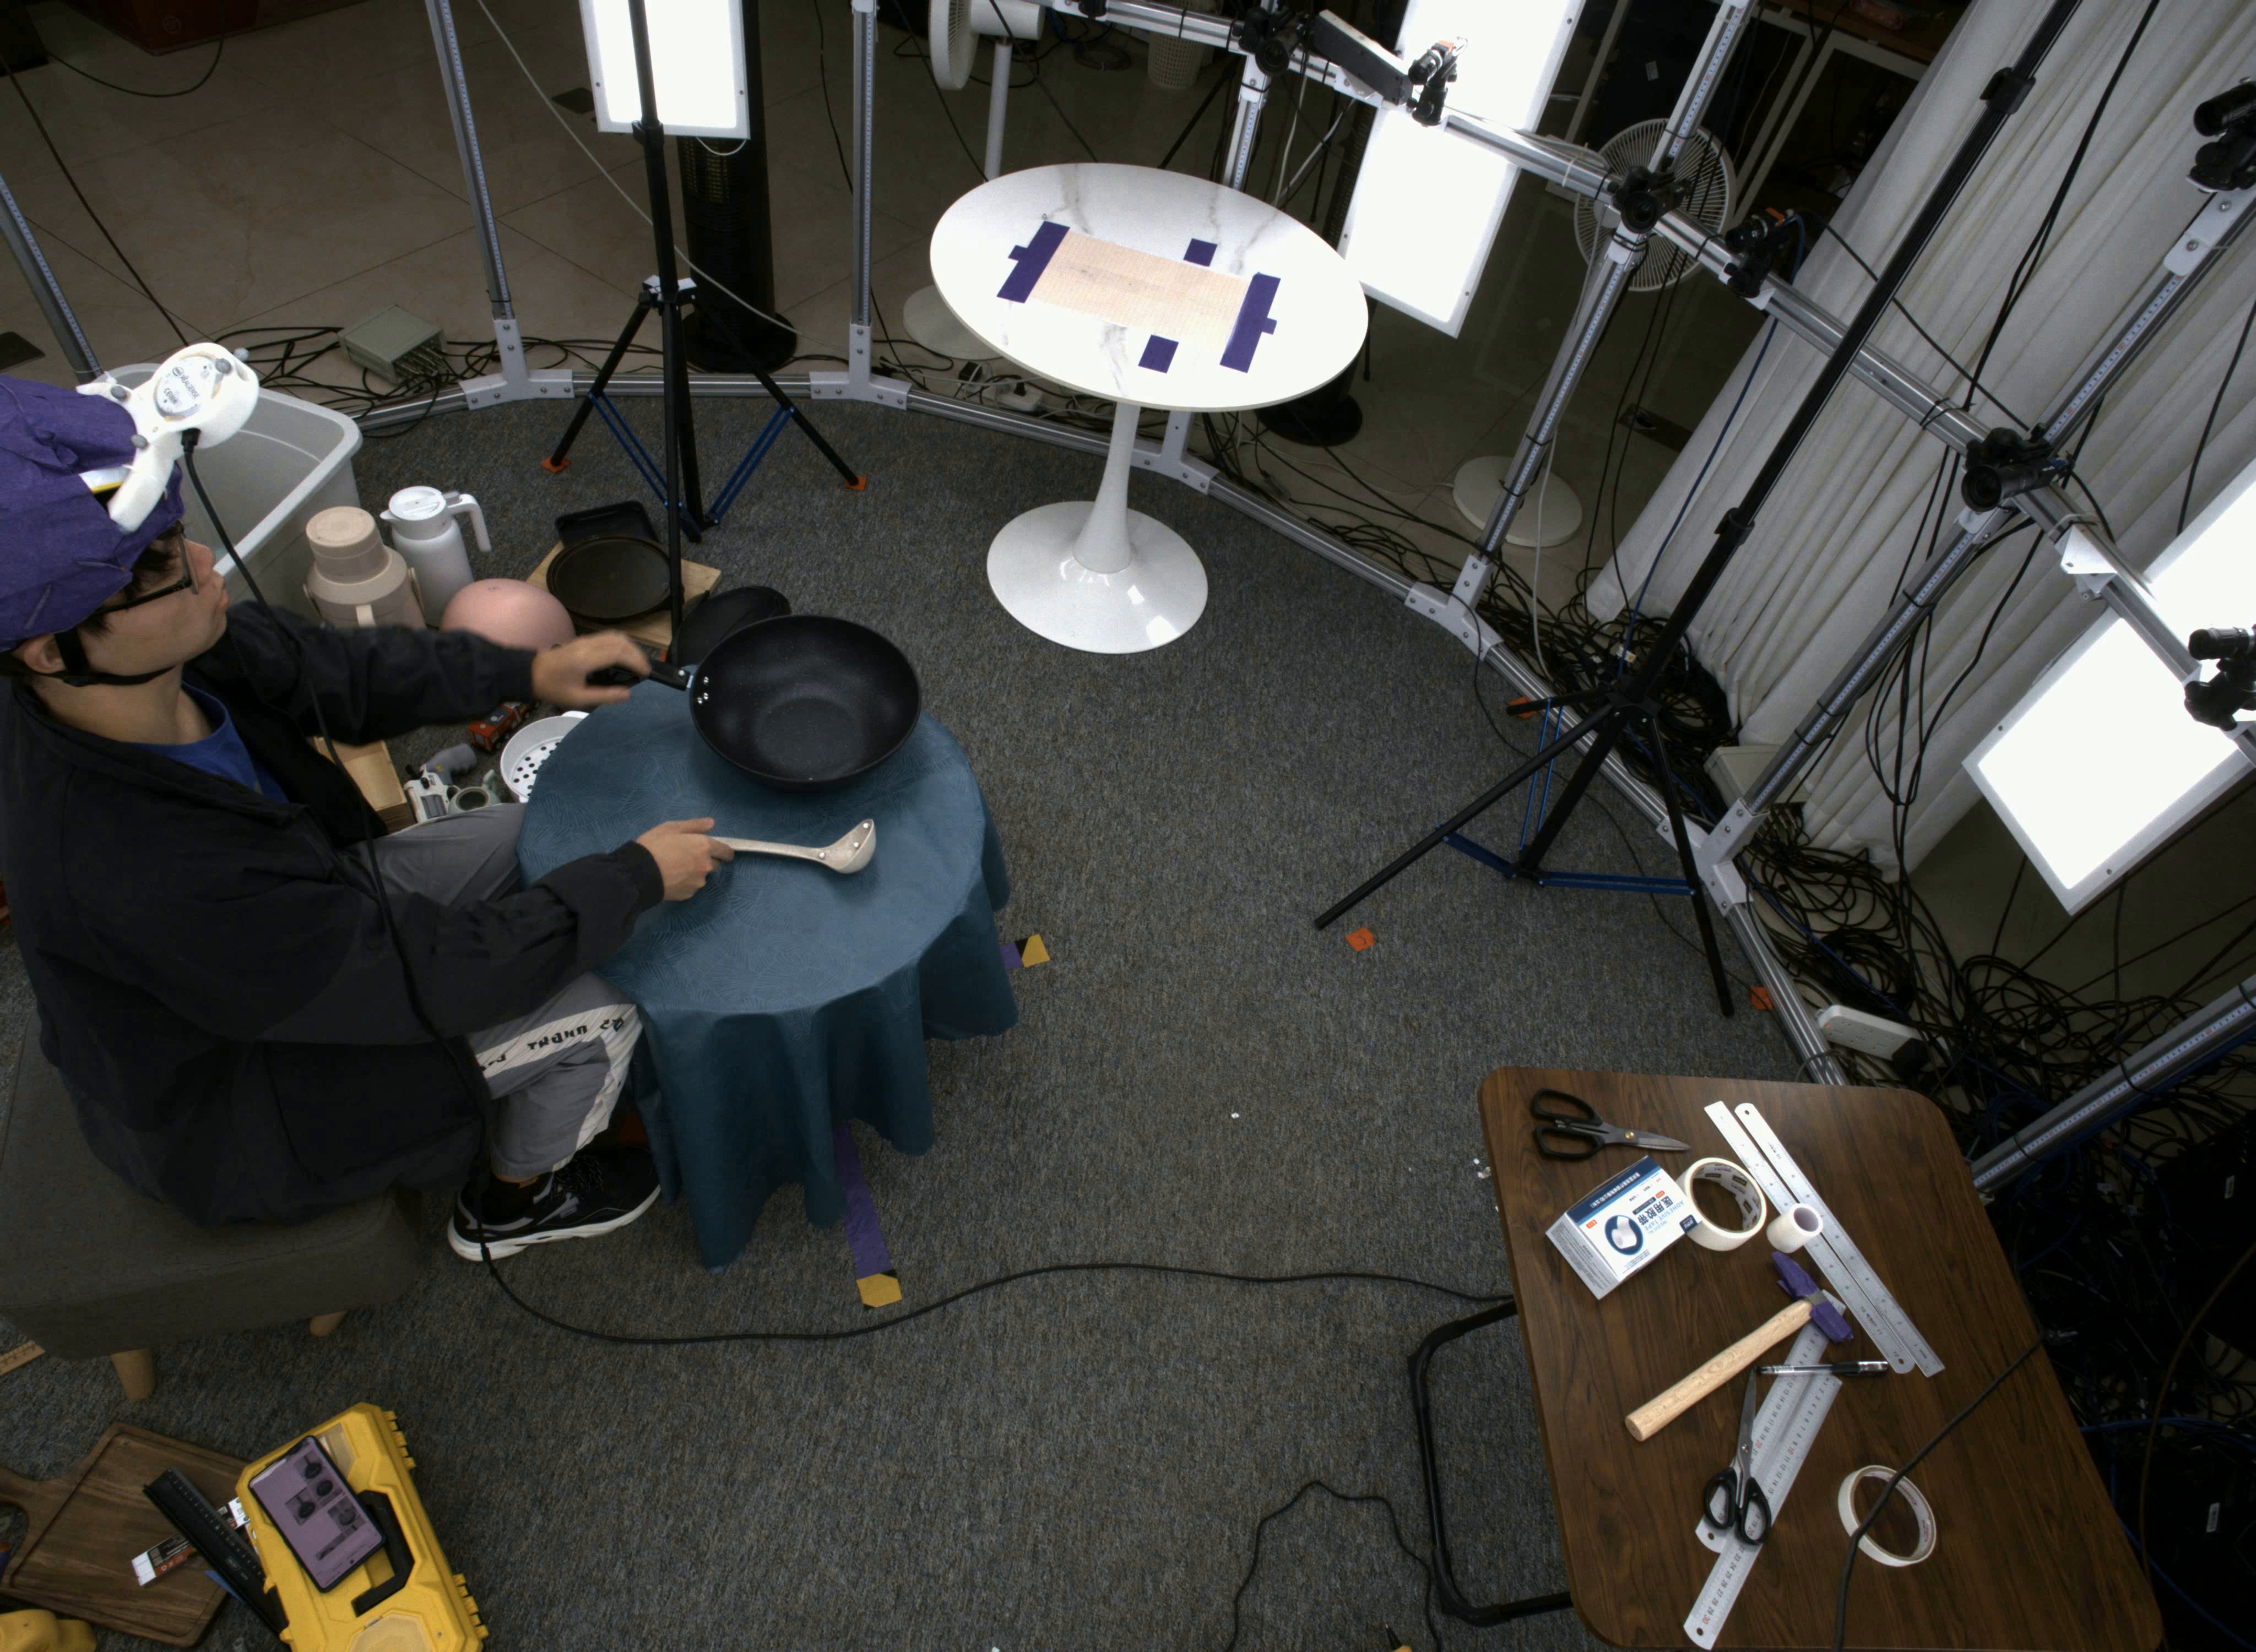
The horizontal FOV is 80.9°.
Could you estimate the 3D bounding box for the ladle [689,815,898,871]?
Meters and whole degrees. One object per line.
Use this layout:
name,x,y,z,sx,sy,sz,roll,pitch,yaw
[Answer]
ladle,-0.436,0.009,1.683,0.273,0.071,0.087,6,37,-7

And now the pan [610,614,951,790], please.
pan,-0.484,-0.178,1.783,0.475,0.114,0.305,9,51,-8
